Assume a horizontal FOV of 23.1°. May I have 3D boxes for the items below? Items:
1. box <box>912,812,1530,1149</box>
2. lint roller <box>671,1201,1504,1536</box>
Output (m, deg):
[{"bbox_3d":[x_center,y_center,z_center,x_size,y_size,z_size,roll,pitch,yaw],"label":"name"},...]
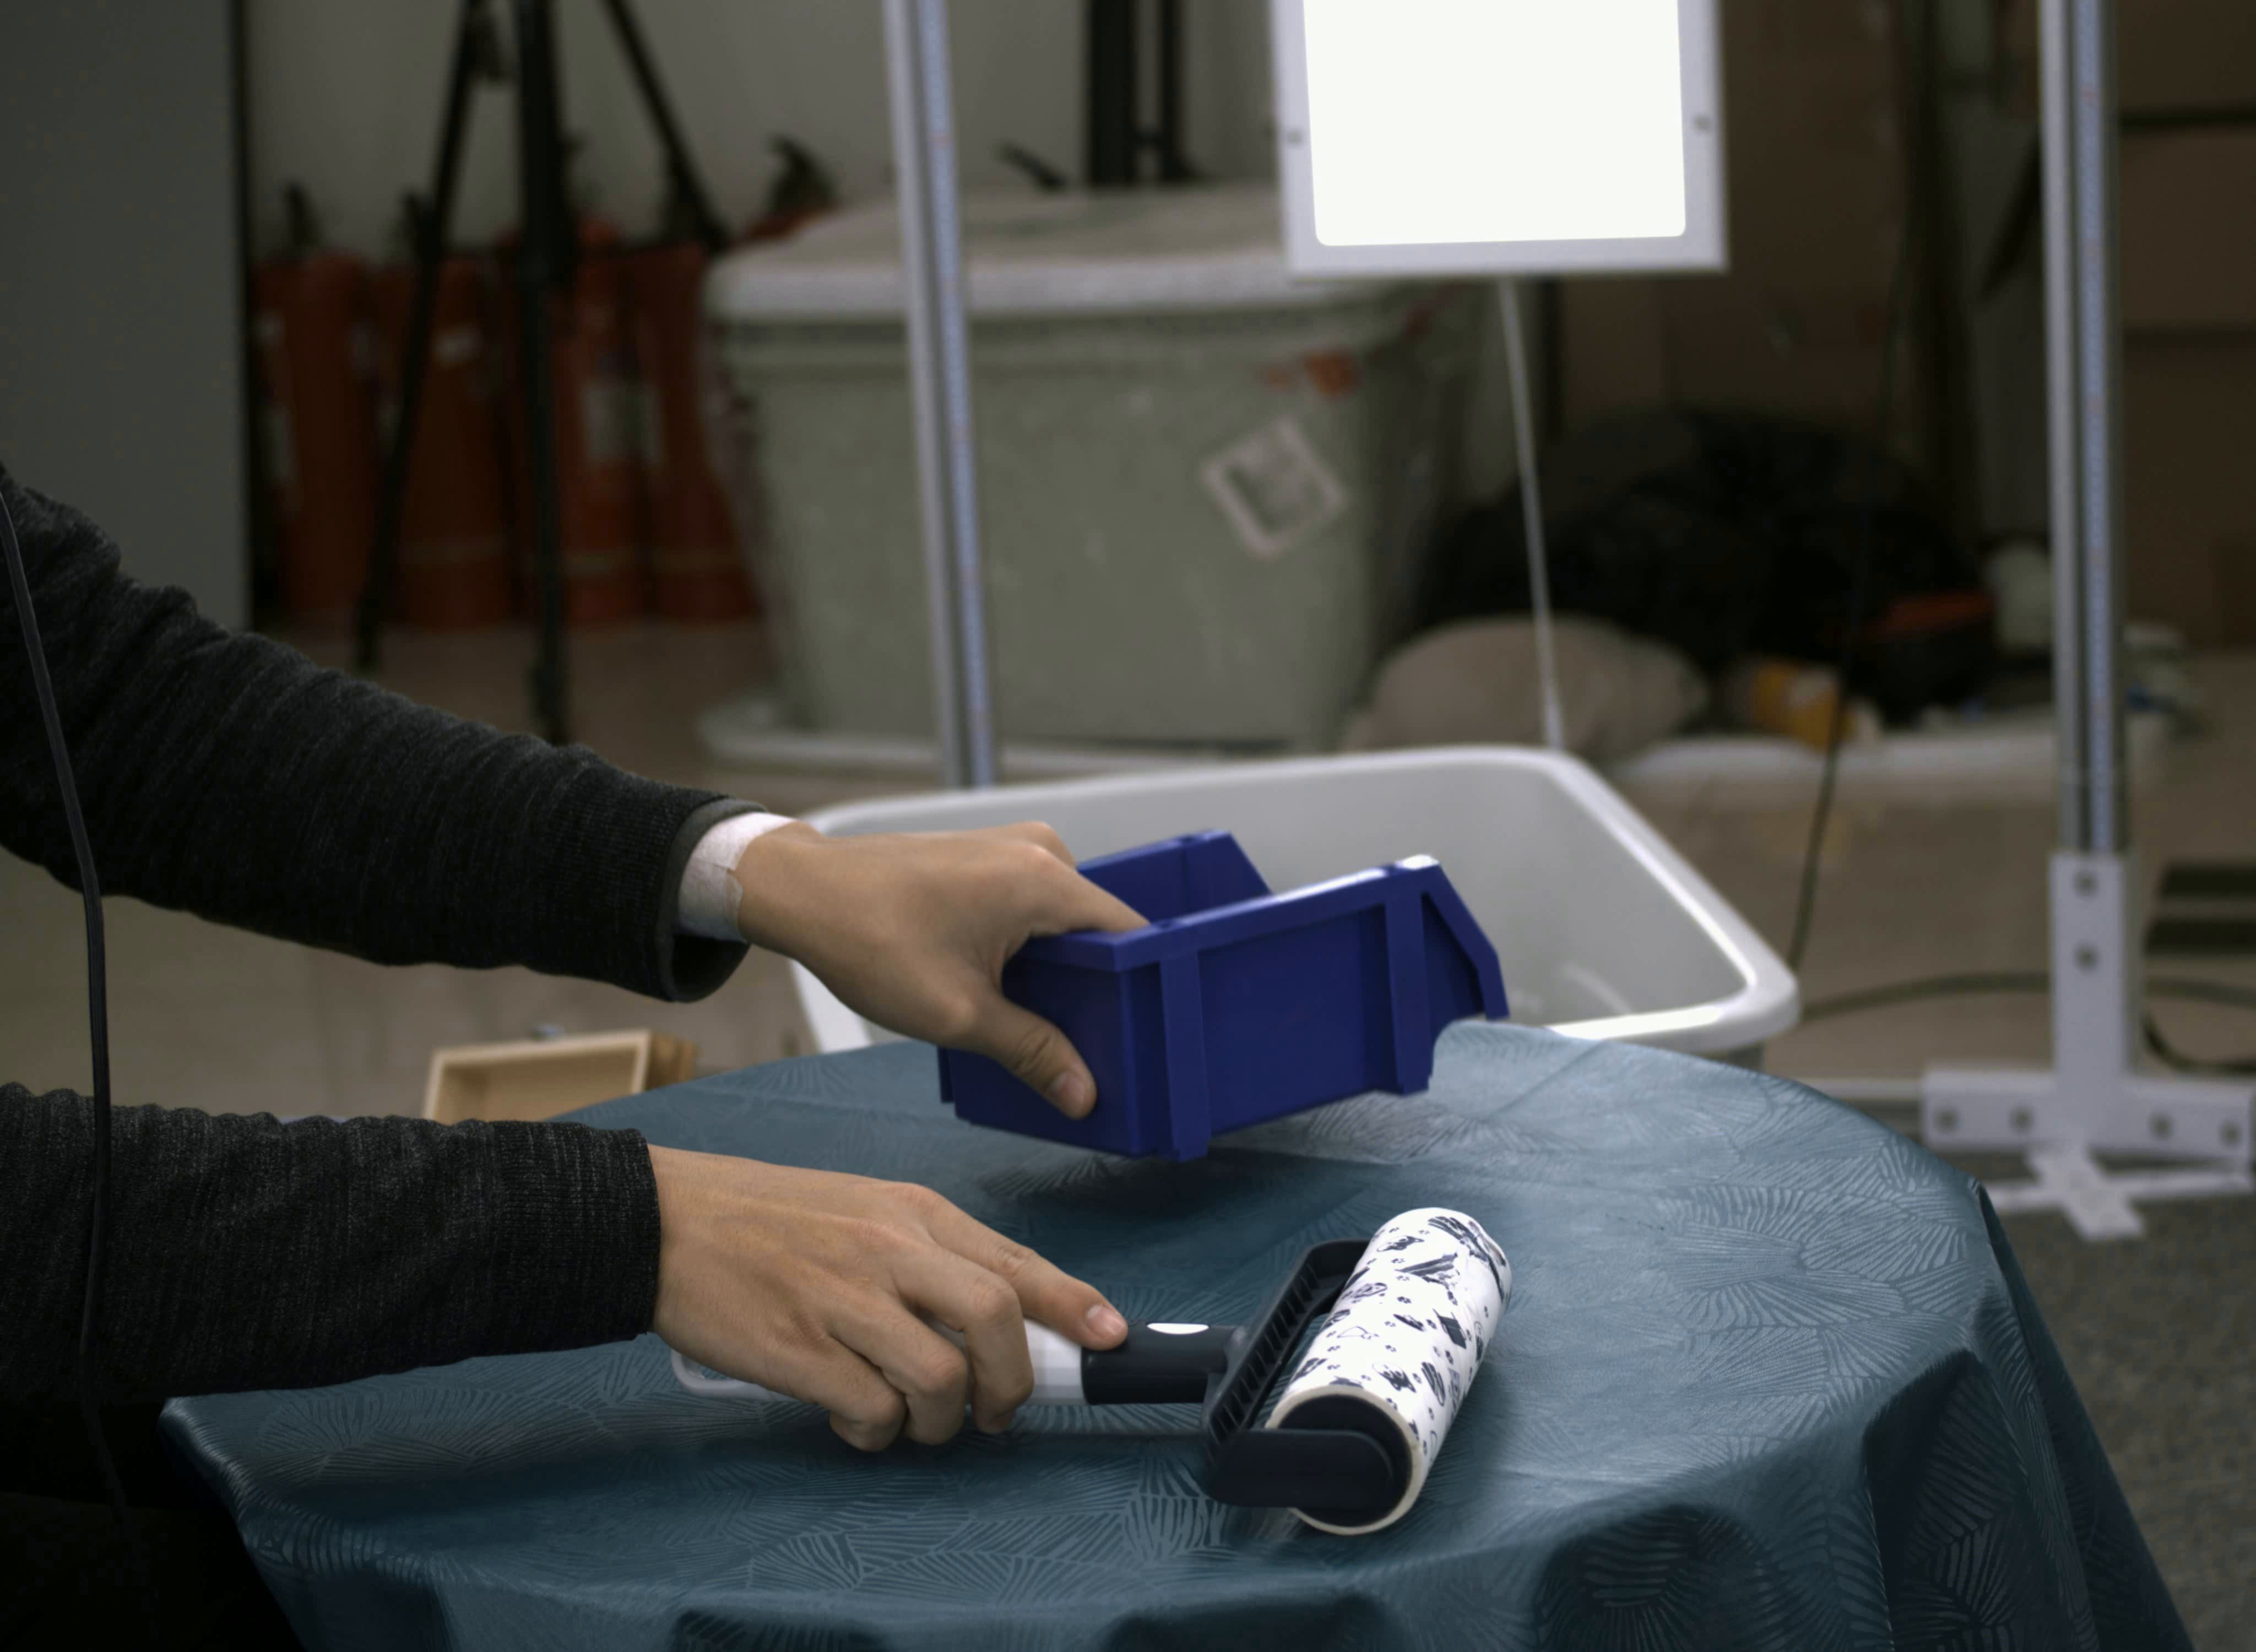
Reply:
[{"bbox_3d":[0.033,0.050,1.924,0.175,0.082,0.127,-16,15,-36],"label":"box"},{"bbox_3d":[-0.020,0.159,1.660,0.249,0.050,0.174,1,15,15],"label":"lint roller"}]
